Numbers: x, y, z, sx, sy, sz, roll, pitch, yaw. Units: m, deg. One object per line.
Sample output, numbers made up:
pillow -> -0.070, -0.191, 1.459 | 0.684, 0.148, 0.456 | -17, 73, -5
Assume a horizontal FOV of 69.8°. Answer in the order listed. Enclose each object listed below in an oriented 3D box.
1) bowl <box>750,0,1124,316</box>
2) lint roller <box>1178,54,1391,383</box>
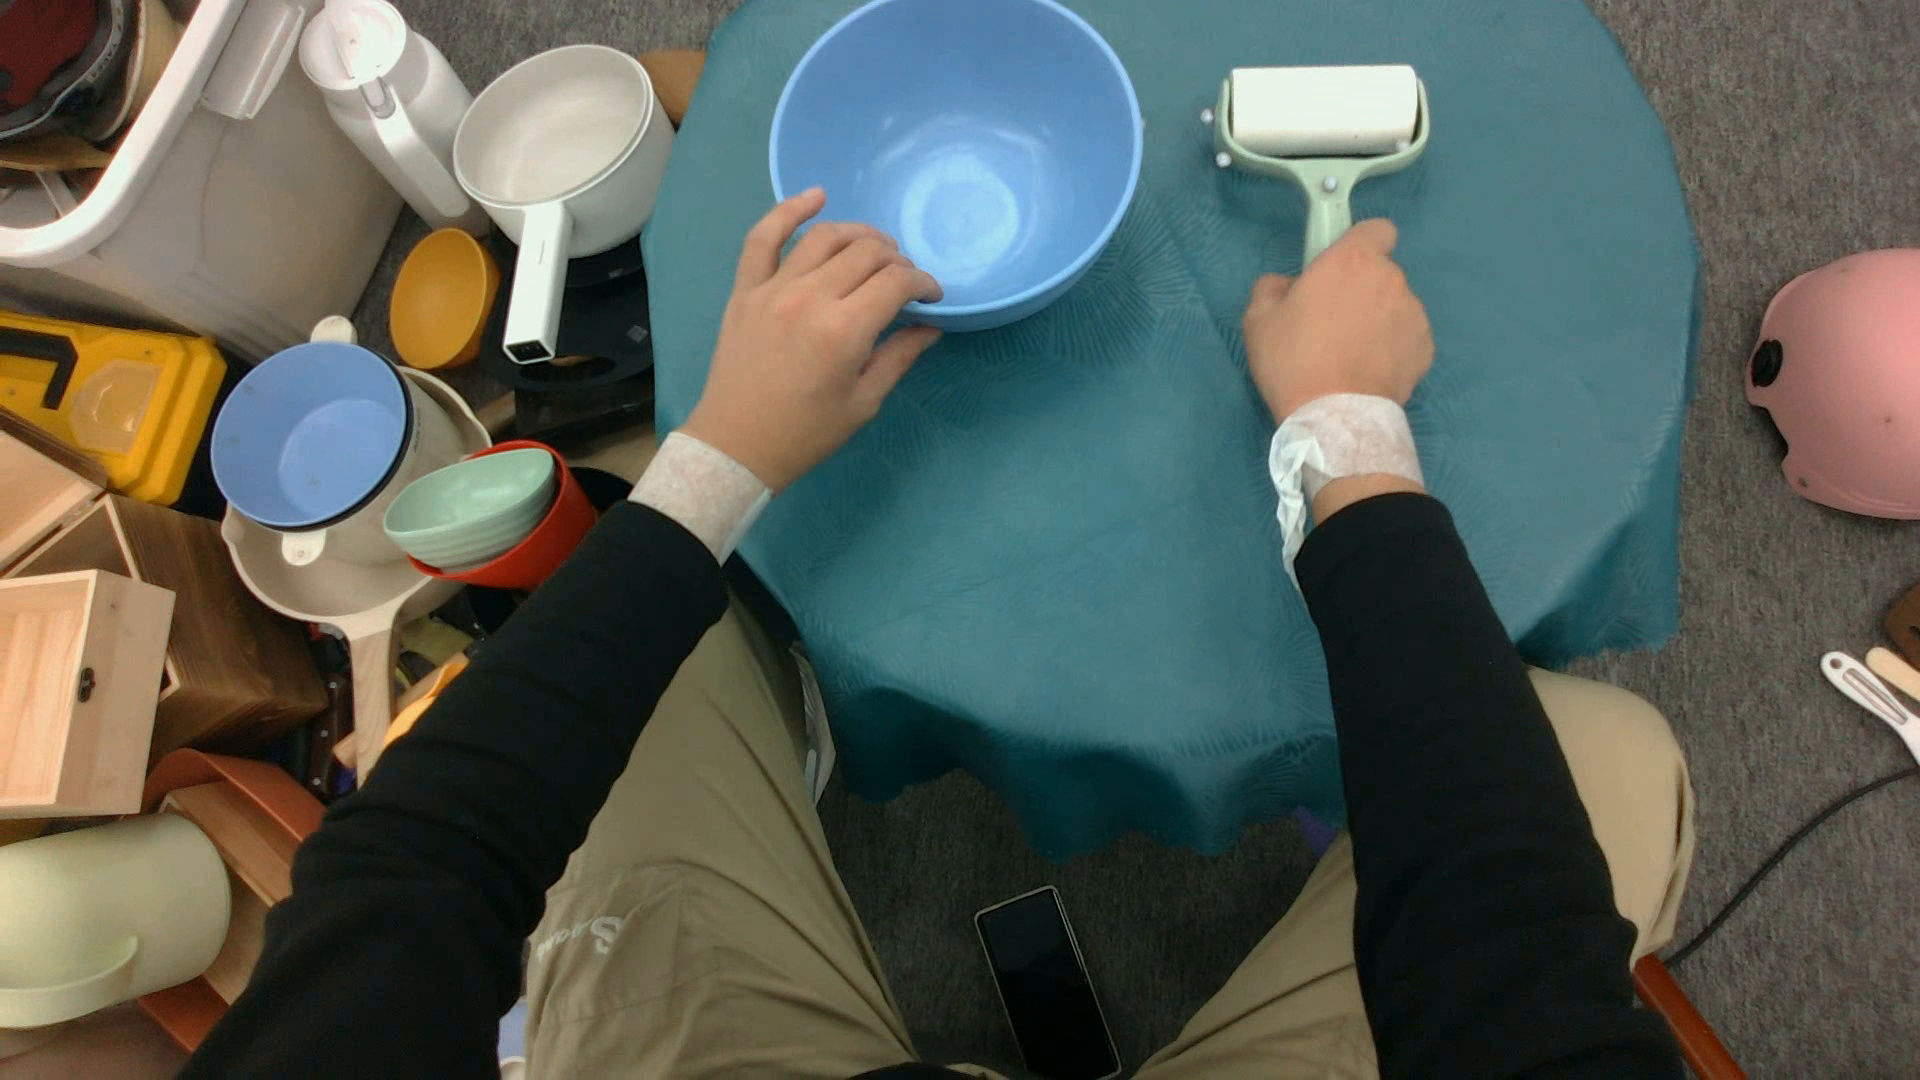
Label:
bowl -> -0.011, -0.204, 0.764 | 0.196, 0.095, 0.197 | 0, 74, 2
lint roller -> 0.183, -0.183, 0.765 | 0.116, 0.048, 0.198 | 0, 69, 2
